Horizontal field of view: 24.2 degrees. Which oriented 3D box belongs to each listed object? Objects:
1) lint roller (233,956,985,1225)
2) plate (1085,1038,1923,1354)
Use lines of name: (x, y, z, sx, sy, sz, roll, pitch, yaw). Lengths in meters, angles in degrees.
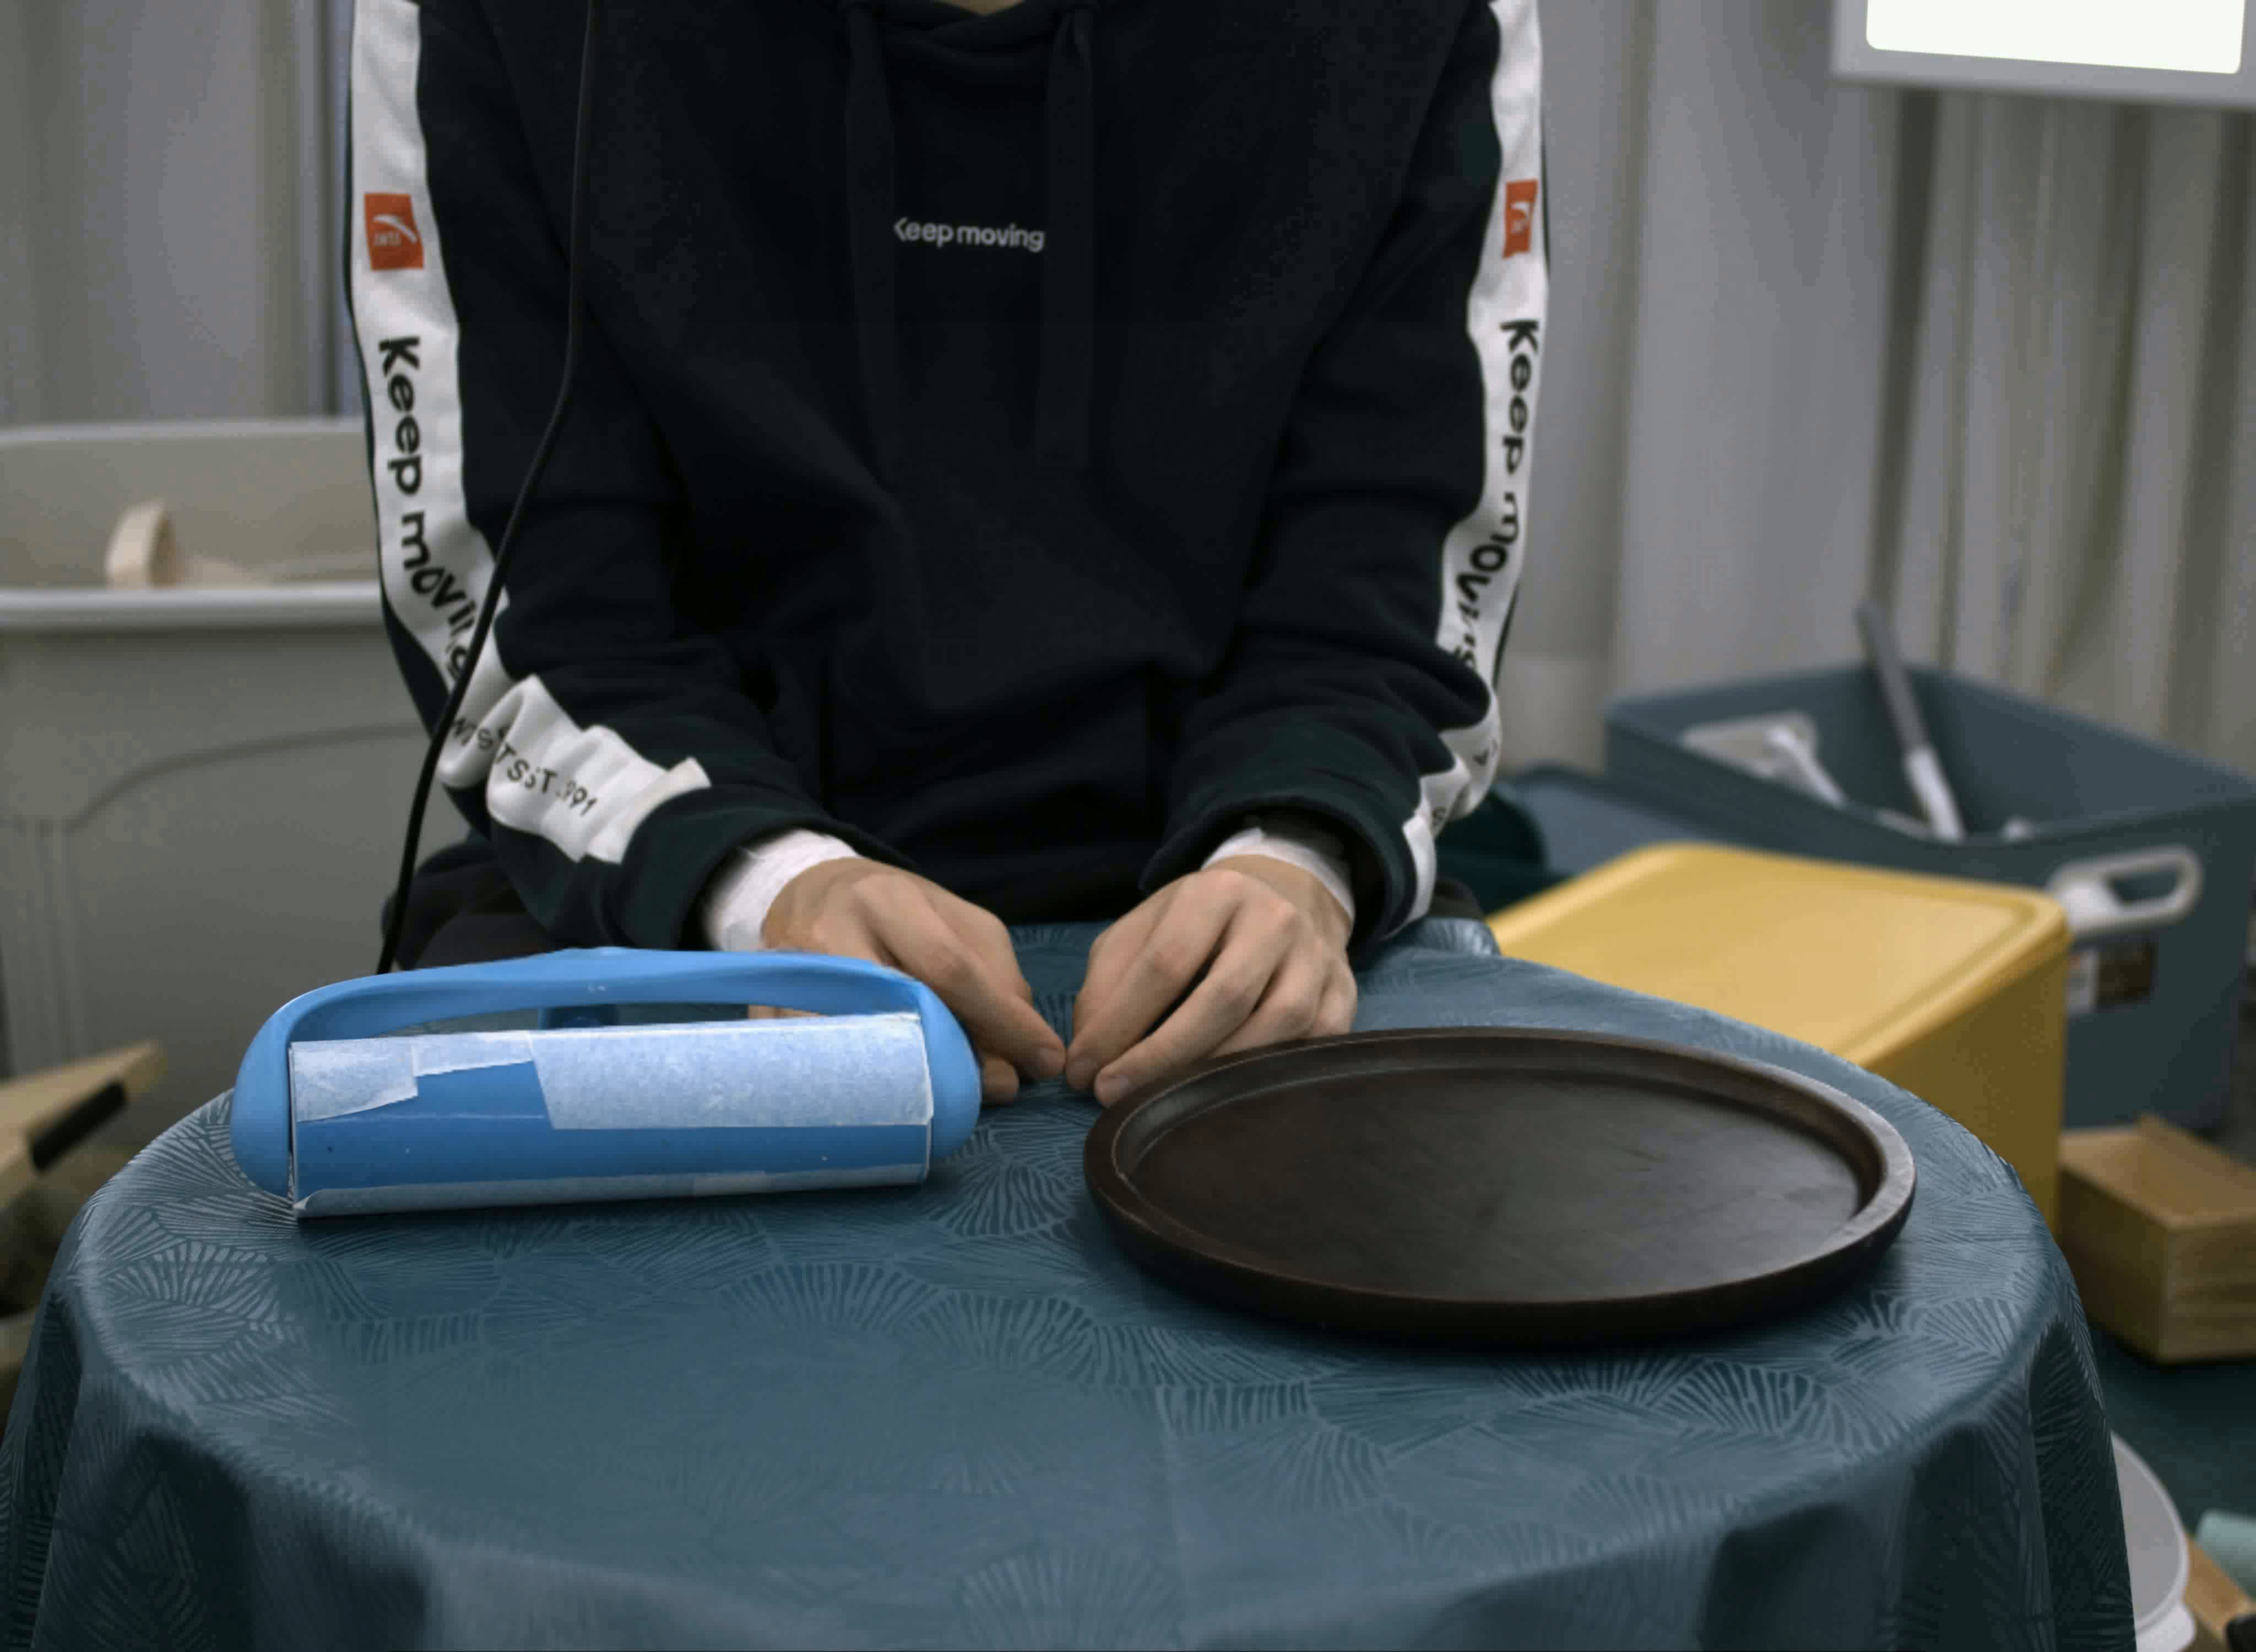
lint roller: (-0.169, 0.071, 1.657, 0.229, 0.068, 0.178, -5, 17, -12)
plate: (0.112, 0.108, 1.593, 0.254, 0.029, 0.253, 2, 16, 0)
